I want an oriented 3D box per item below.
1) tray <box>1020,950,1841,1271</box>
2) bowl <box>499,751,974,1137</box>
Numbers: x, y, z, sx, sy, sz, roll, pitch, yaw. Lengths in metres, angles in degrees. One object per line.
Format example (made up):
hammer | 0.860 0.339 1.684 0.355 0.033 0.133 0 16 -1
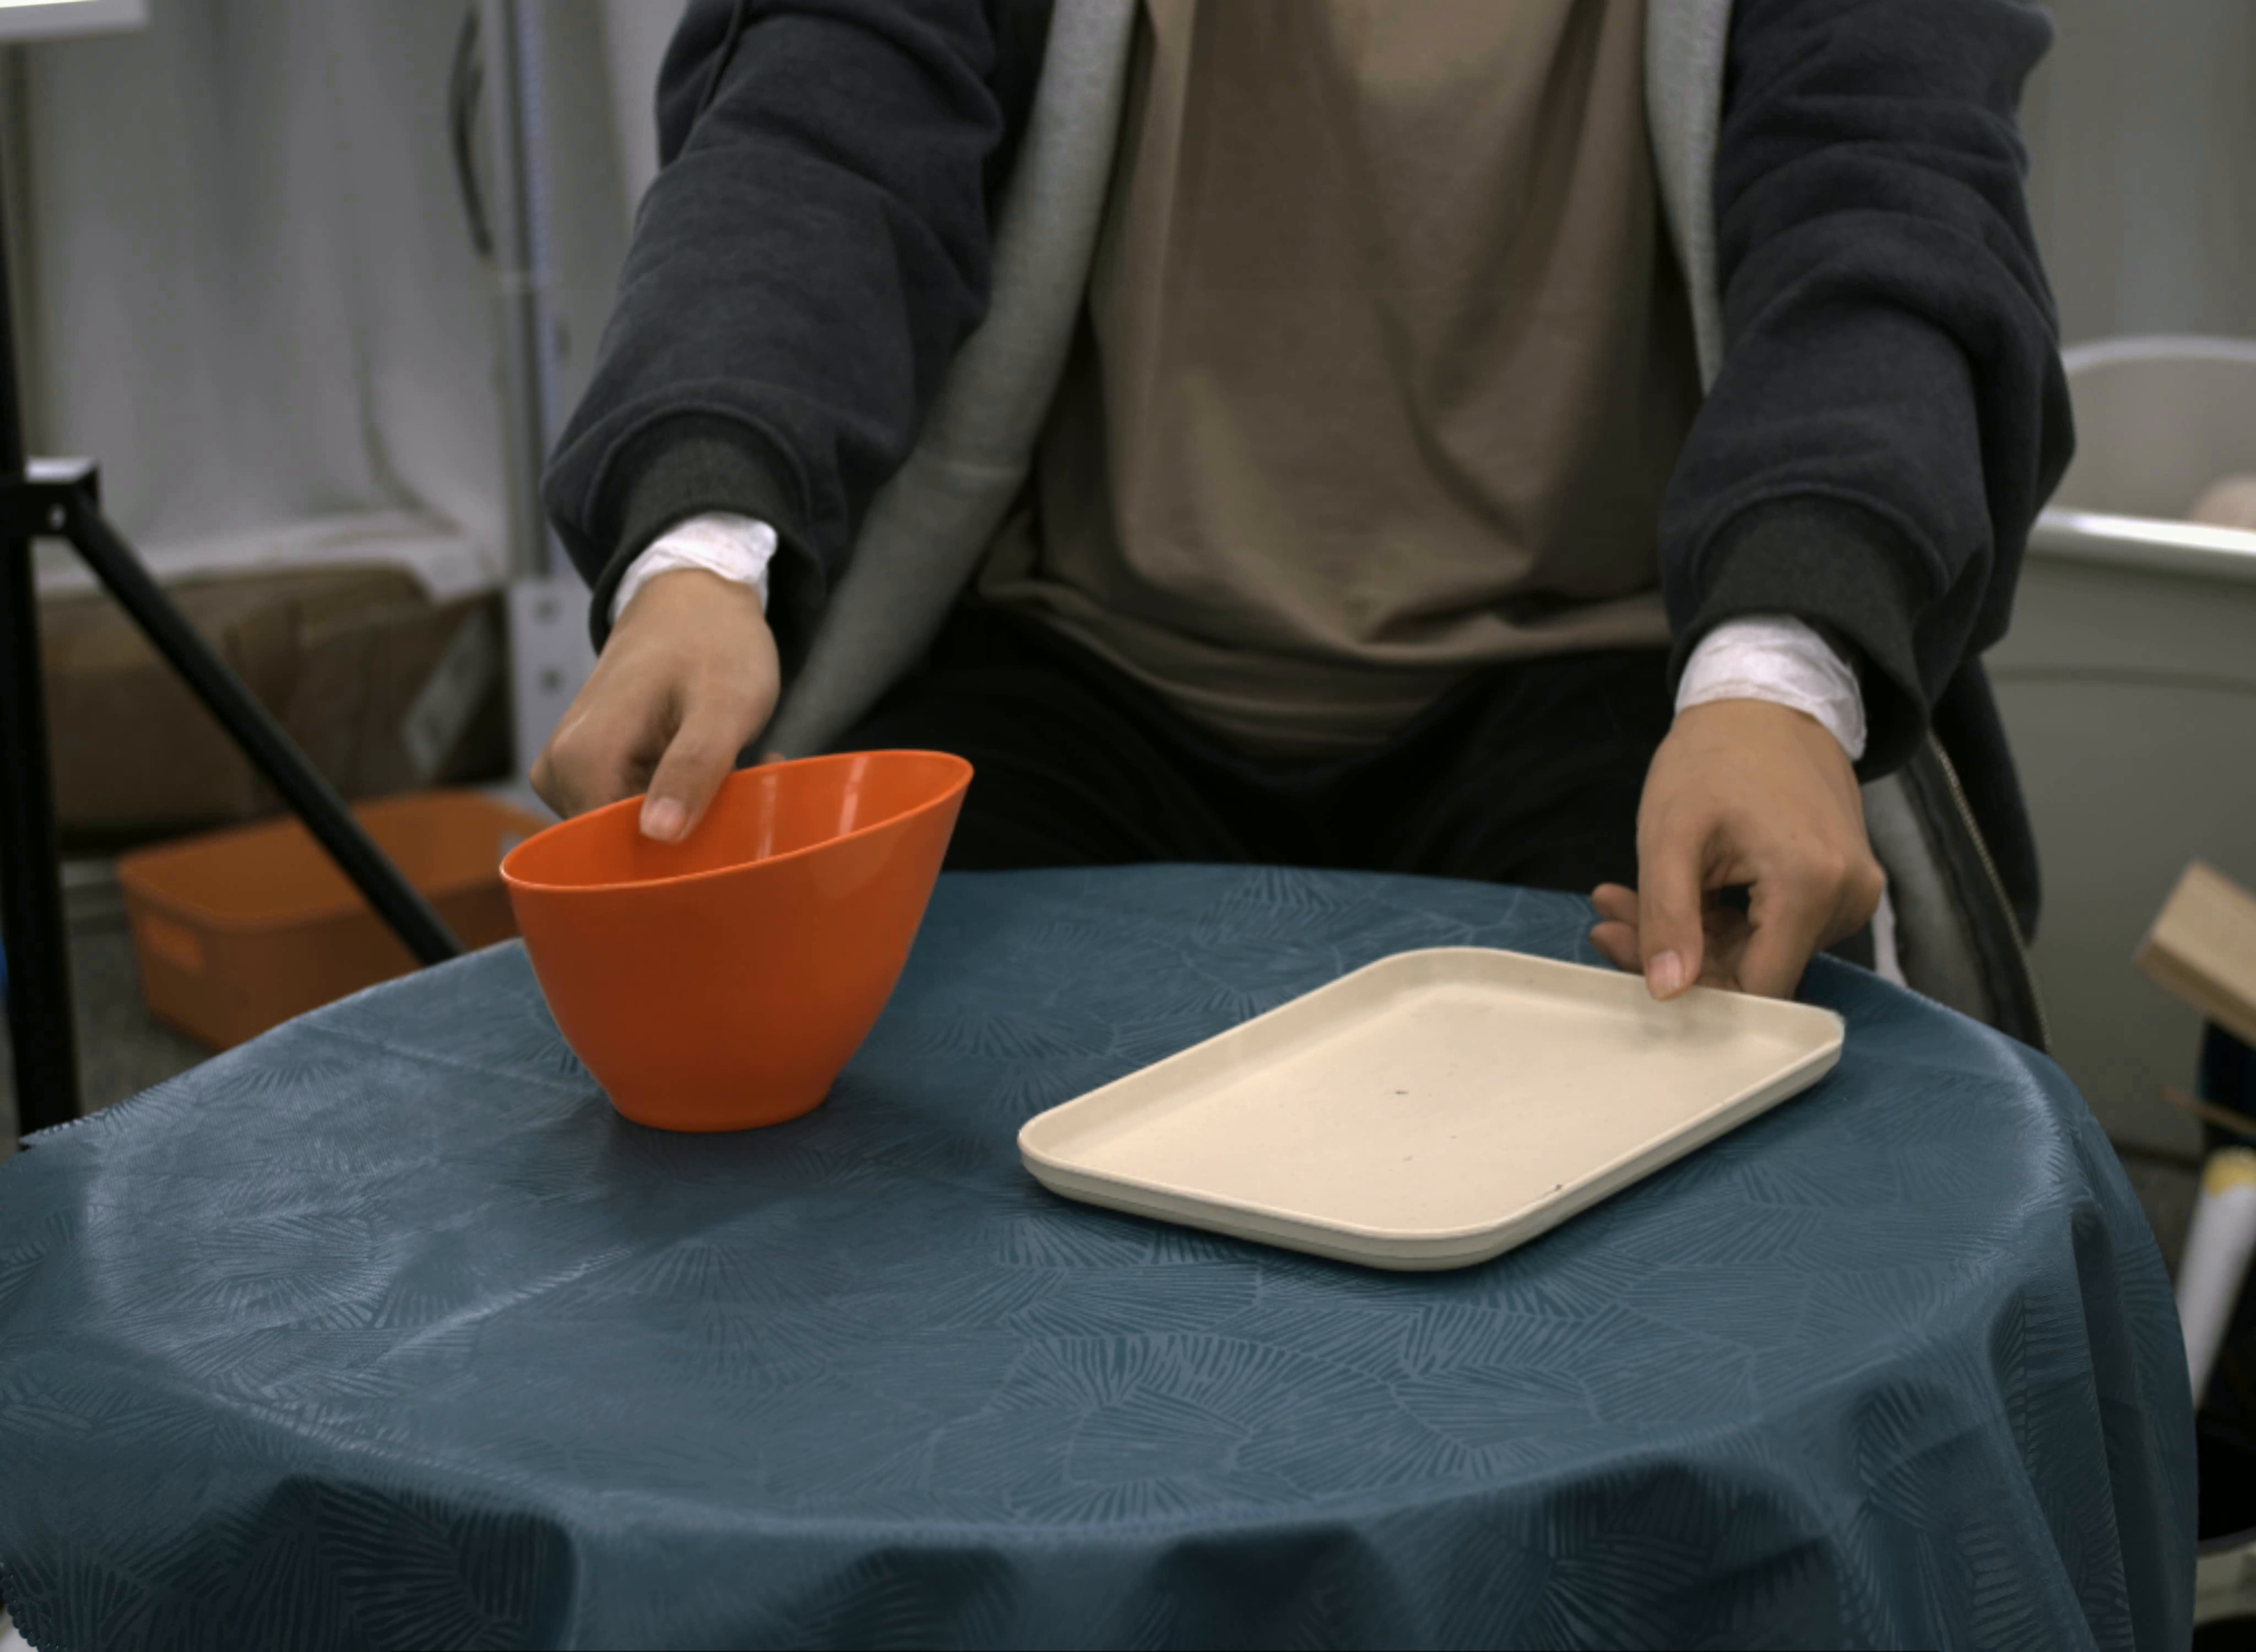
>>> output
tray | 0.094 0.084 1.596 0.175 0.017 0.234 9 20 37
bowl | -0.119 0.037 1.645 0.147 0.104 0.149 -3 17 -1
